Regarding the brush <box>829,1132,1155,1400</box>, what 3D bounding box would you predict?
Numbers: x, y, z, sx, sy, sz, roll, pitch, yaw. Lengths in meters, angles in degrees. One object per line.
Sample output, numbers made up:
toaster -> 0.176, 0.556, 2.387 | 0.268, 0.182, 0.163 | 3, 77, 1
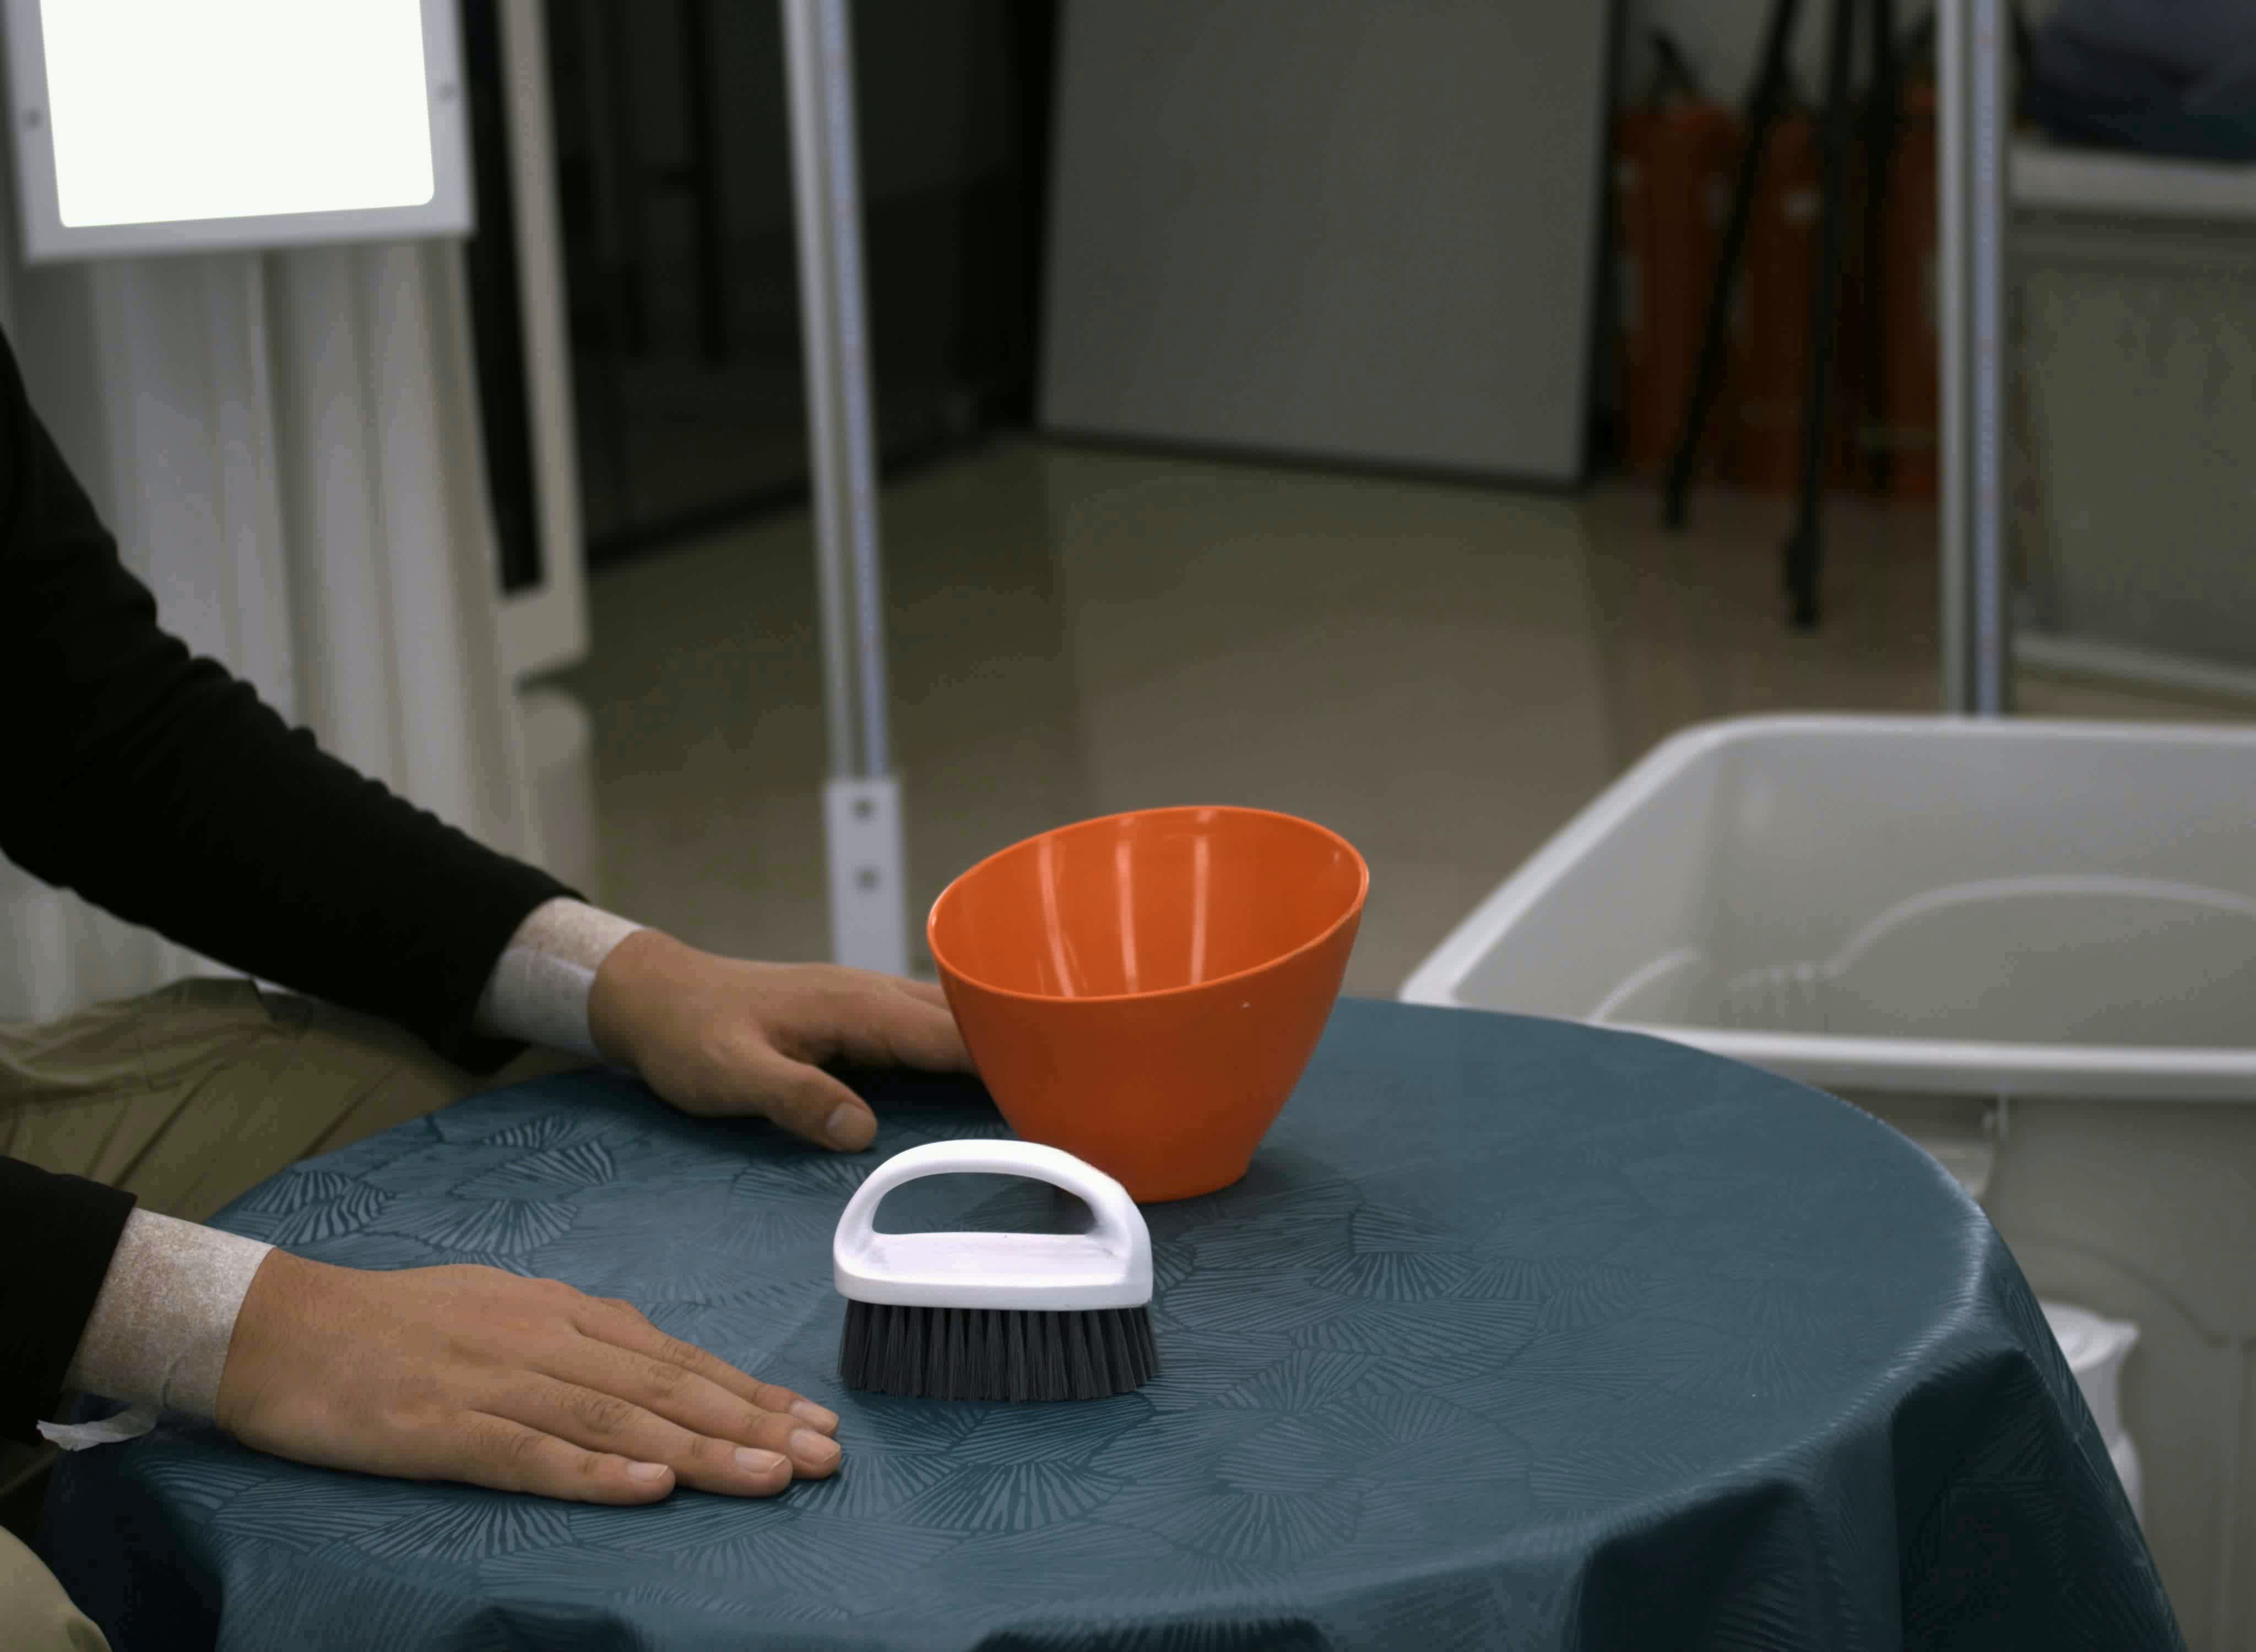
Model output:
brush -> -0.042, 0.127, 1.601 | 0.099, 0.073, 0.050 | 1, 15, 19

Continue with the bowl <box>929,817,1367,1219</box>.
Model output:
bowl -> 0.010, 0.067, 1.784 | 0.146, 0.106, 0.148 | -6, 14, 0
